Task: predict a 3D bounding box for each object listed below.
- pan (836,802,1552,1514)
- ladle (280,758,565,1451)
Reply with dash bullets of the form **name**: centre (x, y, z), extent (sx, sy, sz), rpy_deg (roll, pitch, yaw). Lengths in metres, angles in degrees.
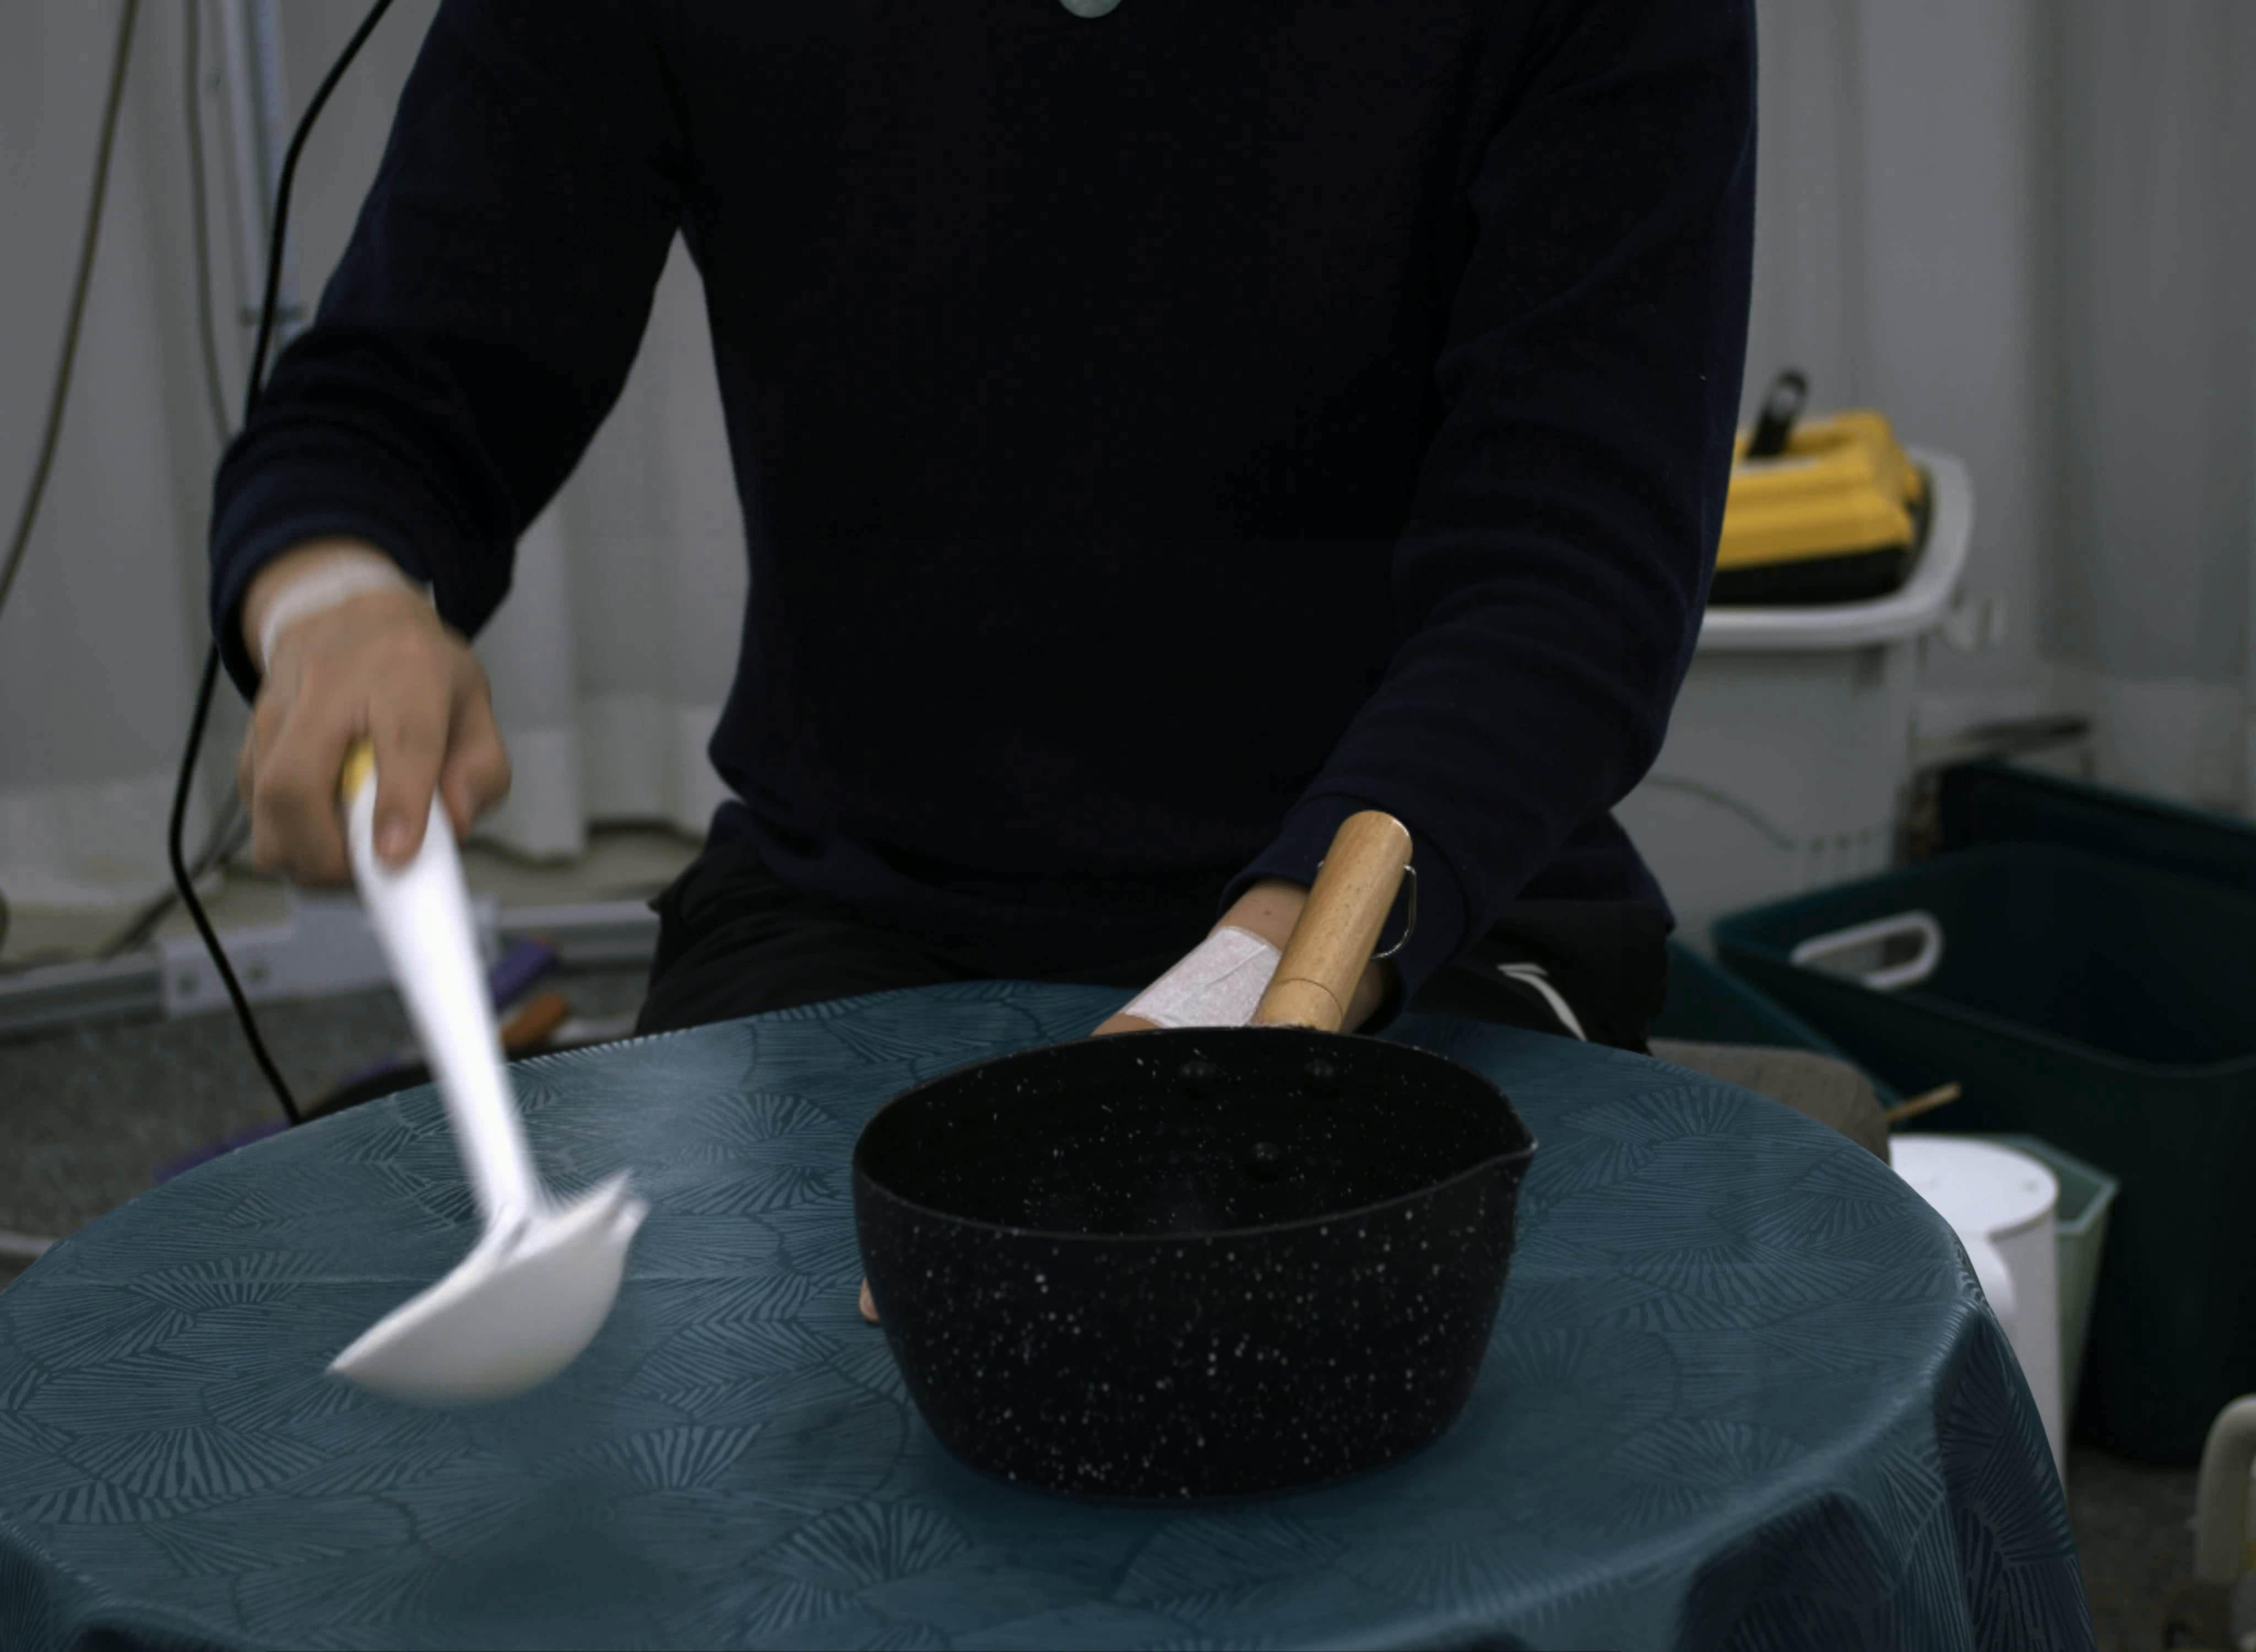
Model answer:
- **pan**: centre (0.036, 0.091, 1.591), extent (0.207, 0.108, 0.344), rpy_deg (0, 16, 15)
- **ladle**: centre (-0.206, 0.068, 1.531), extent (0.090, 0.069, 0.297), rpy_deg (-37, 37, 13)
